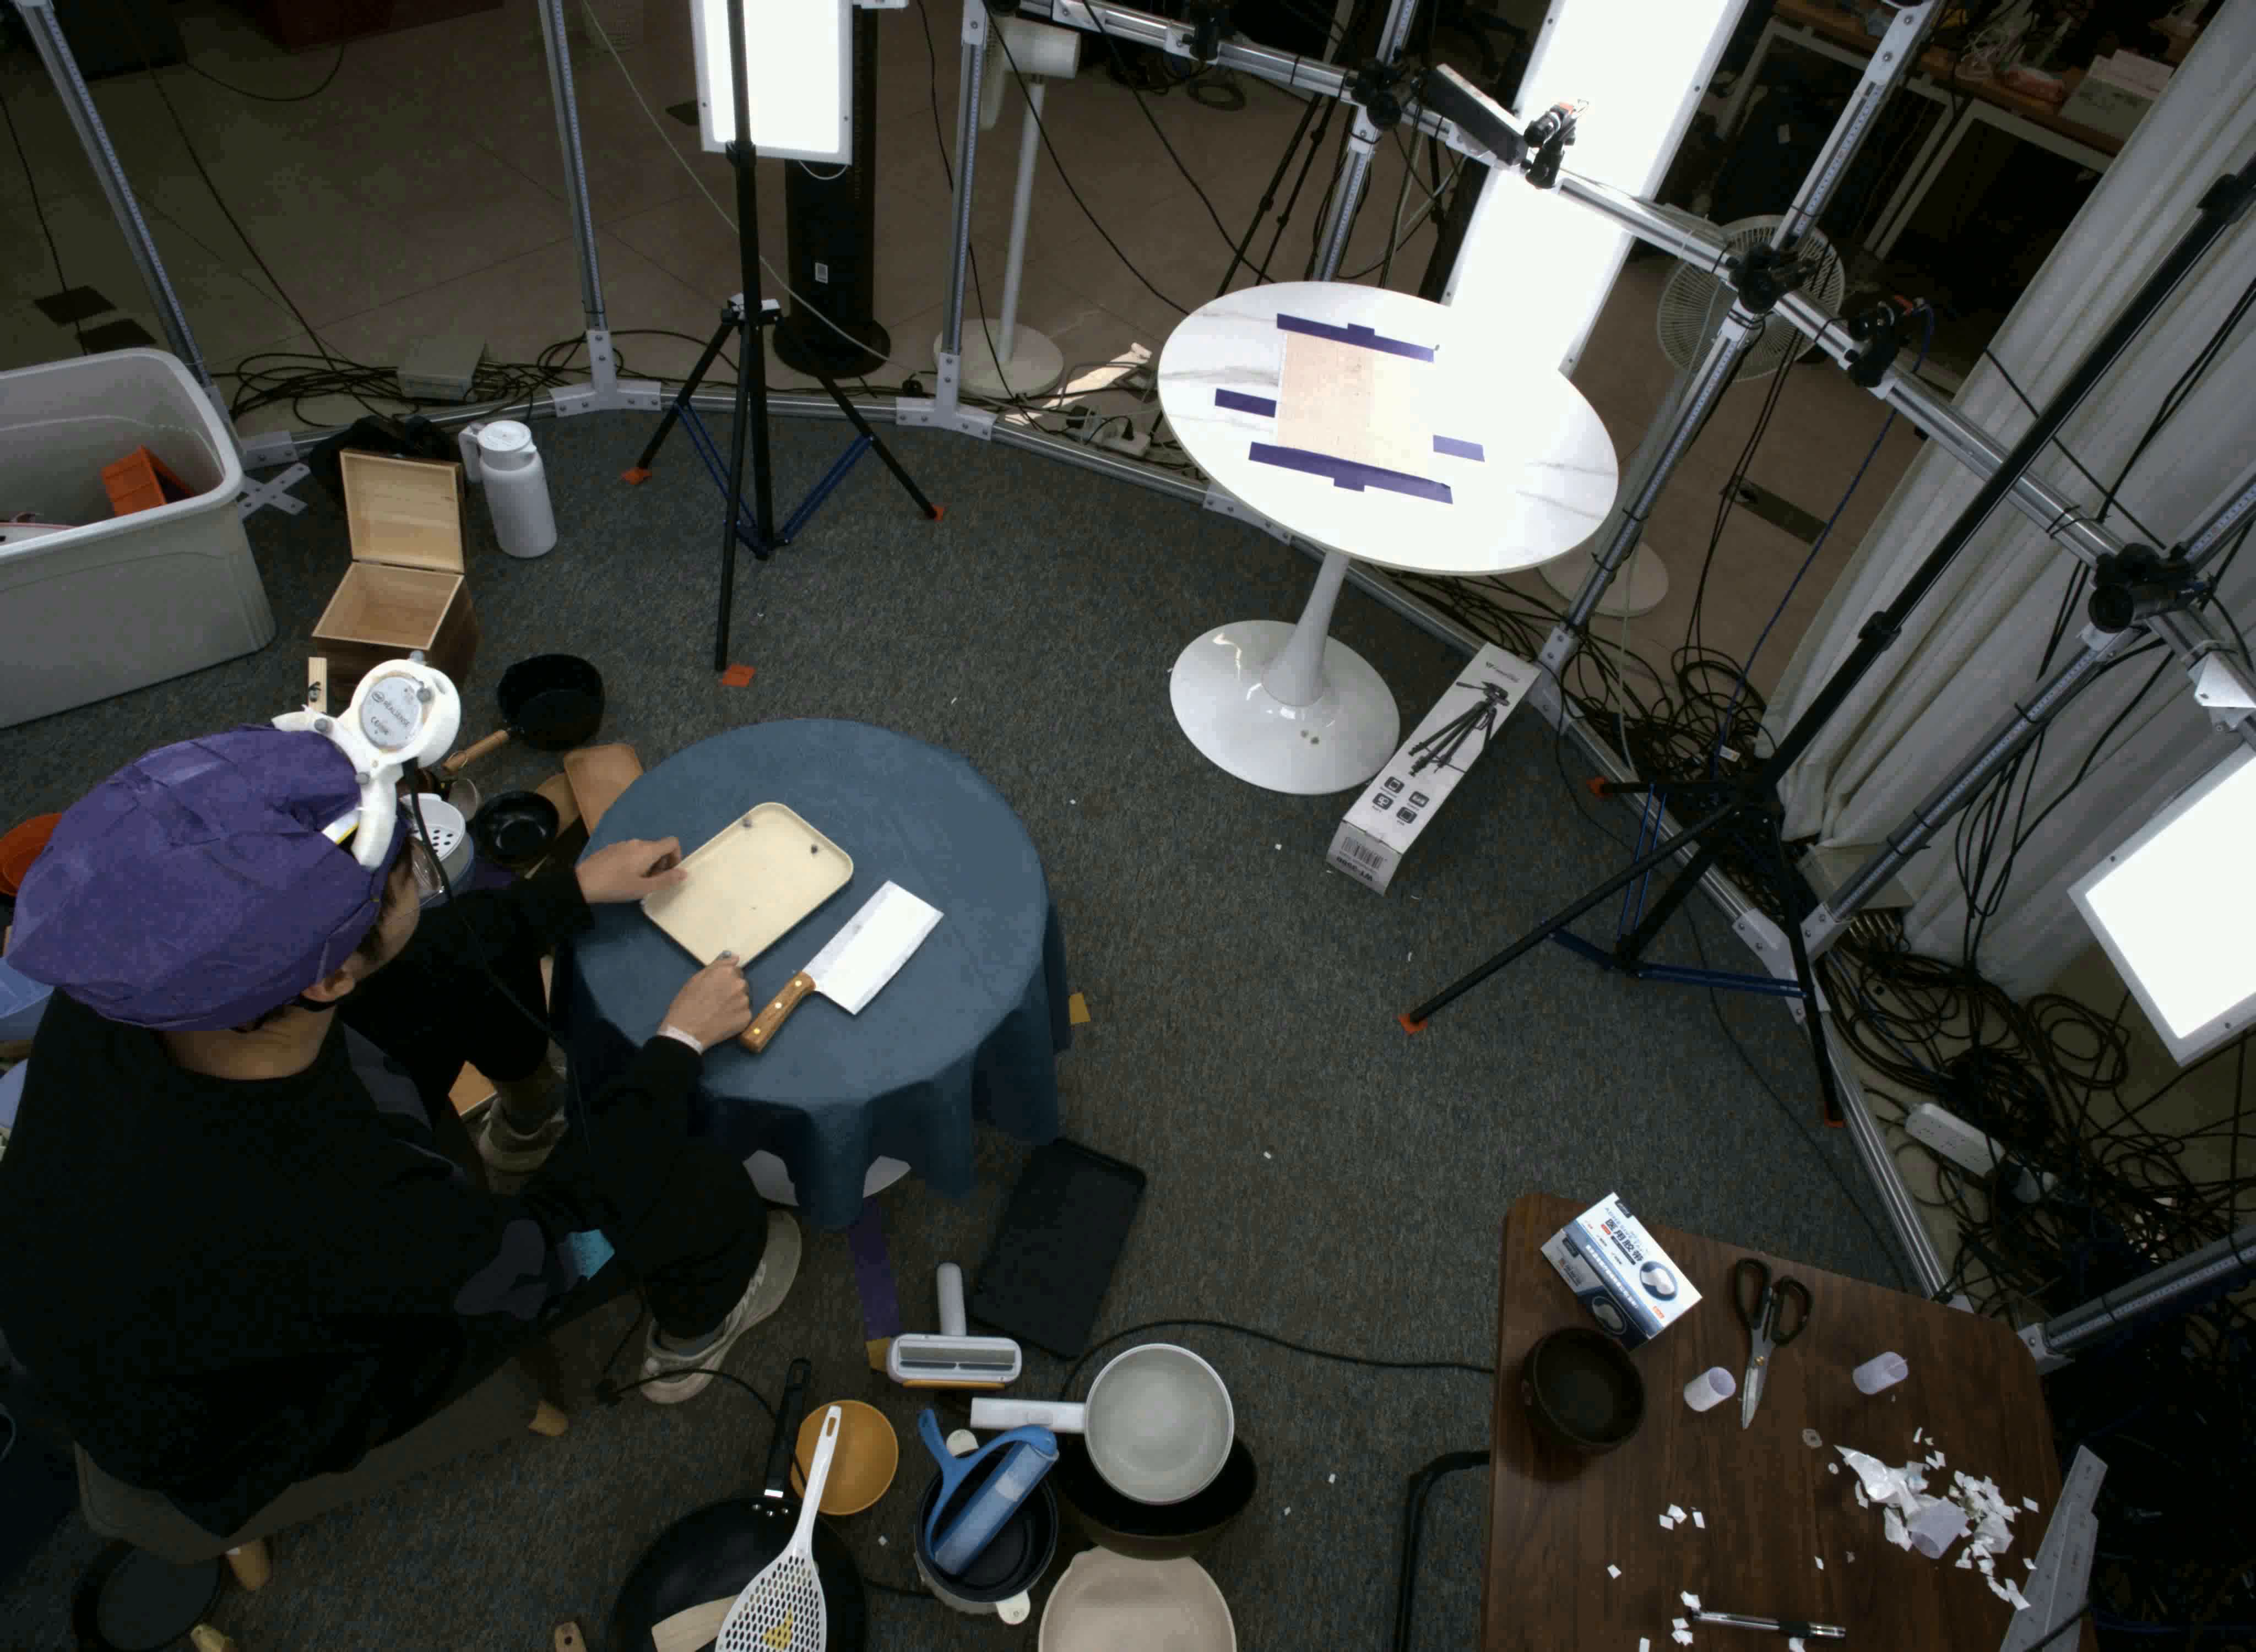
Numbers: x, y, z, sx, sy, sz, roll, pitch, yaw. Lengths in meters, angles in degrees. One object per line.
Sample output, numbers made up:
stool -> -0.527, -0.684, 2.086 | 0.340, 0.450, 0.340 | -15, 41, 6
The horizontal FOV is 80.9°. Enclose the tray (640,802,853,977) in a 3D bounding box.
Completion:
tray -> -0.478, 0.076, 1.630 | 0.168, 0.018, 0.239 | 37, 53, 12

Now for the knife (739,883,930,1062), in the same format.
knife -> -0.348, 0.182, 1.588 | 0.091, 0.021, 0.304 | 31, 50, 8
